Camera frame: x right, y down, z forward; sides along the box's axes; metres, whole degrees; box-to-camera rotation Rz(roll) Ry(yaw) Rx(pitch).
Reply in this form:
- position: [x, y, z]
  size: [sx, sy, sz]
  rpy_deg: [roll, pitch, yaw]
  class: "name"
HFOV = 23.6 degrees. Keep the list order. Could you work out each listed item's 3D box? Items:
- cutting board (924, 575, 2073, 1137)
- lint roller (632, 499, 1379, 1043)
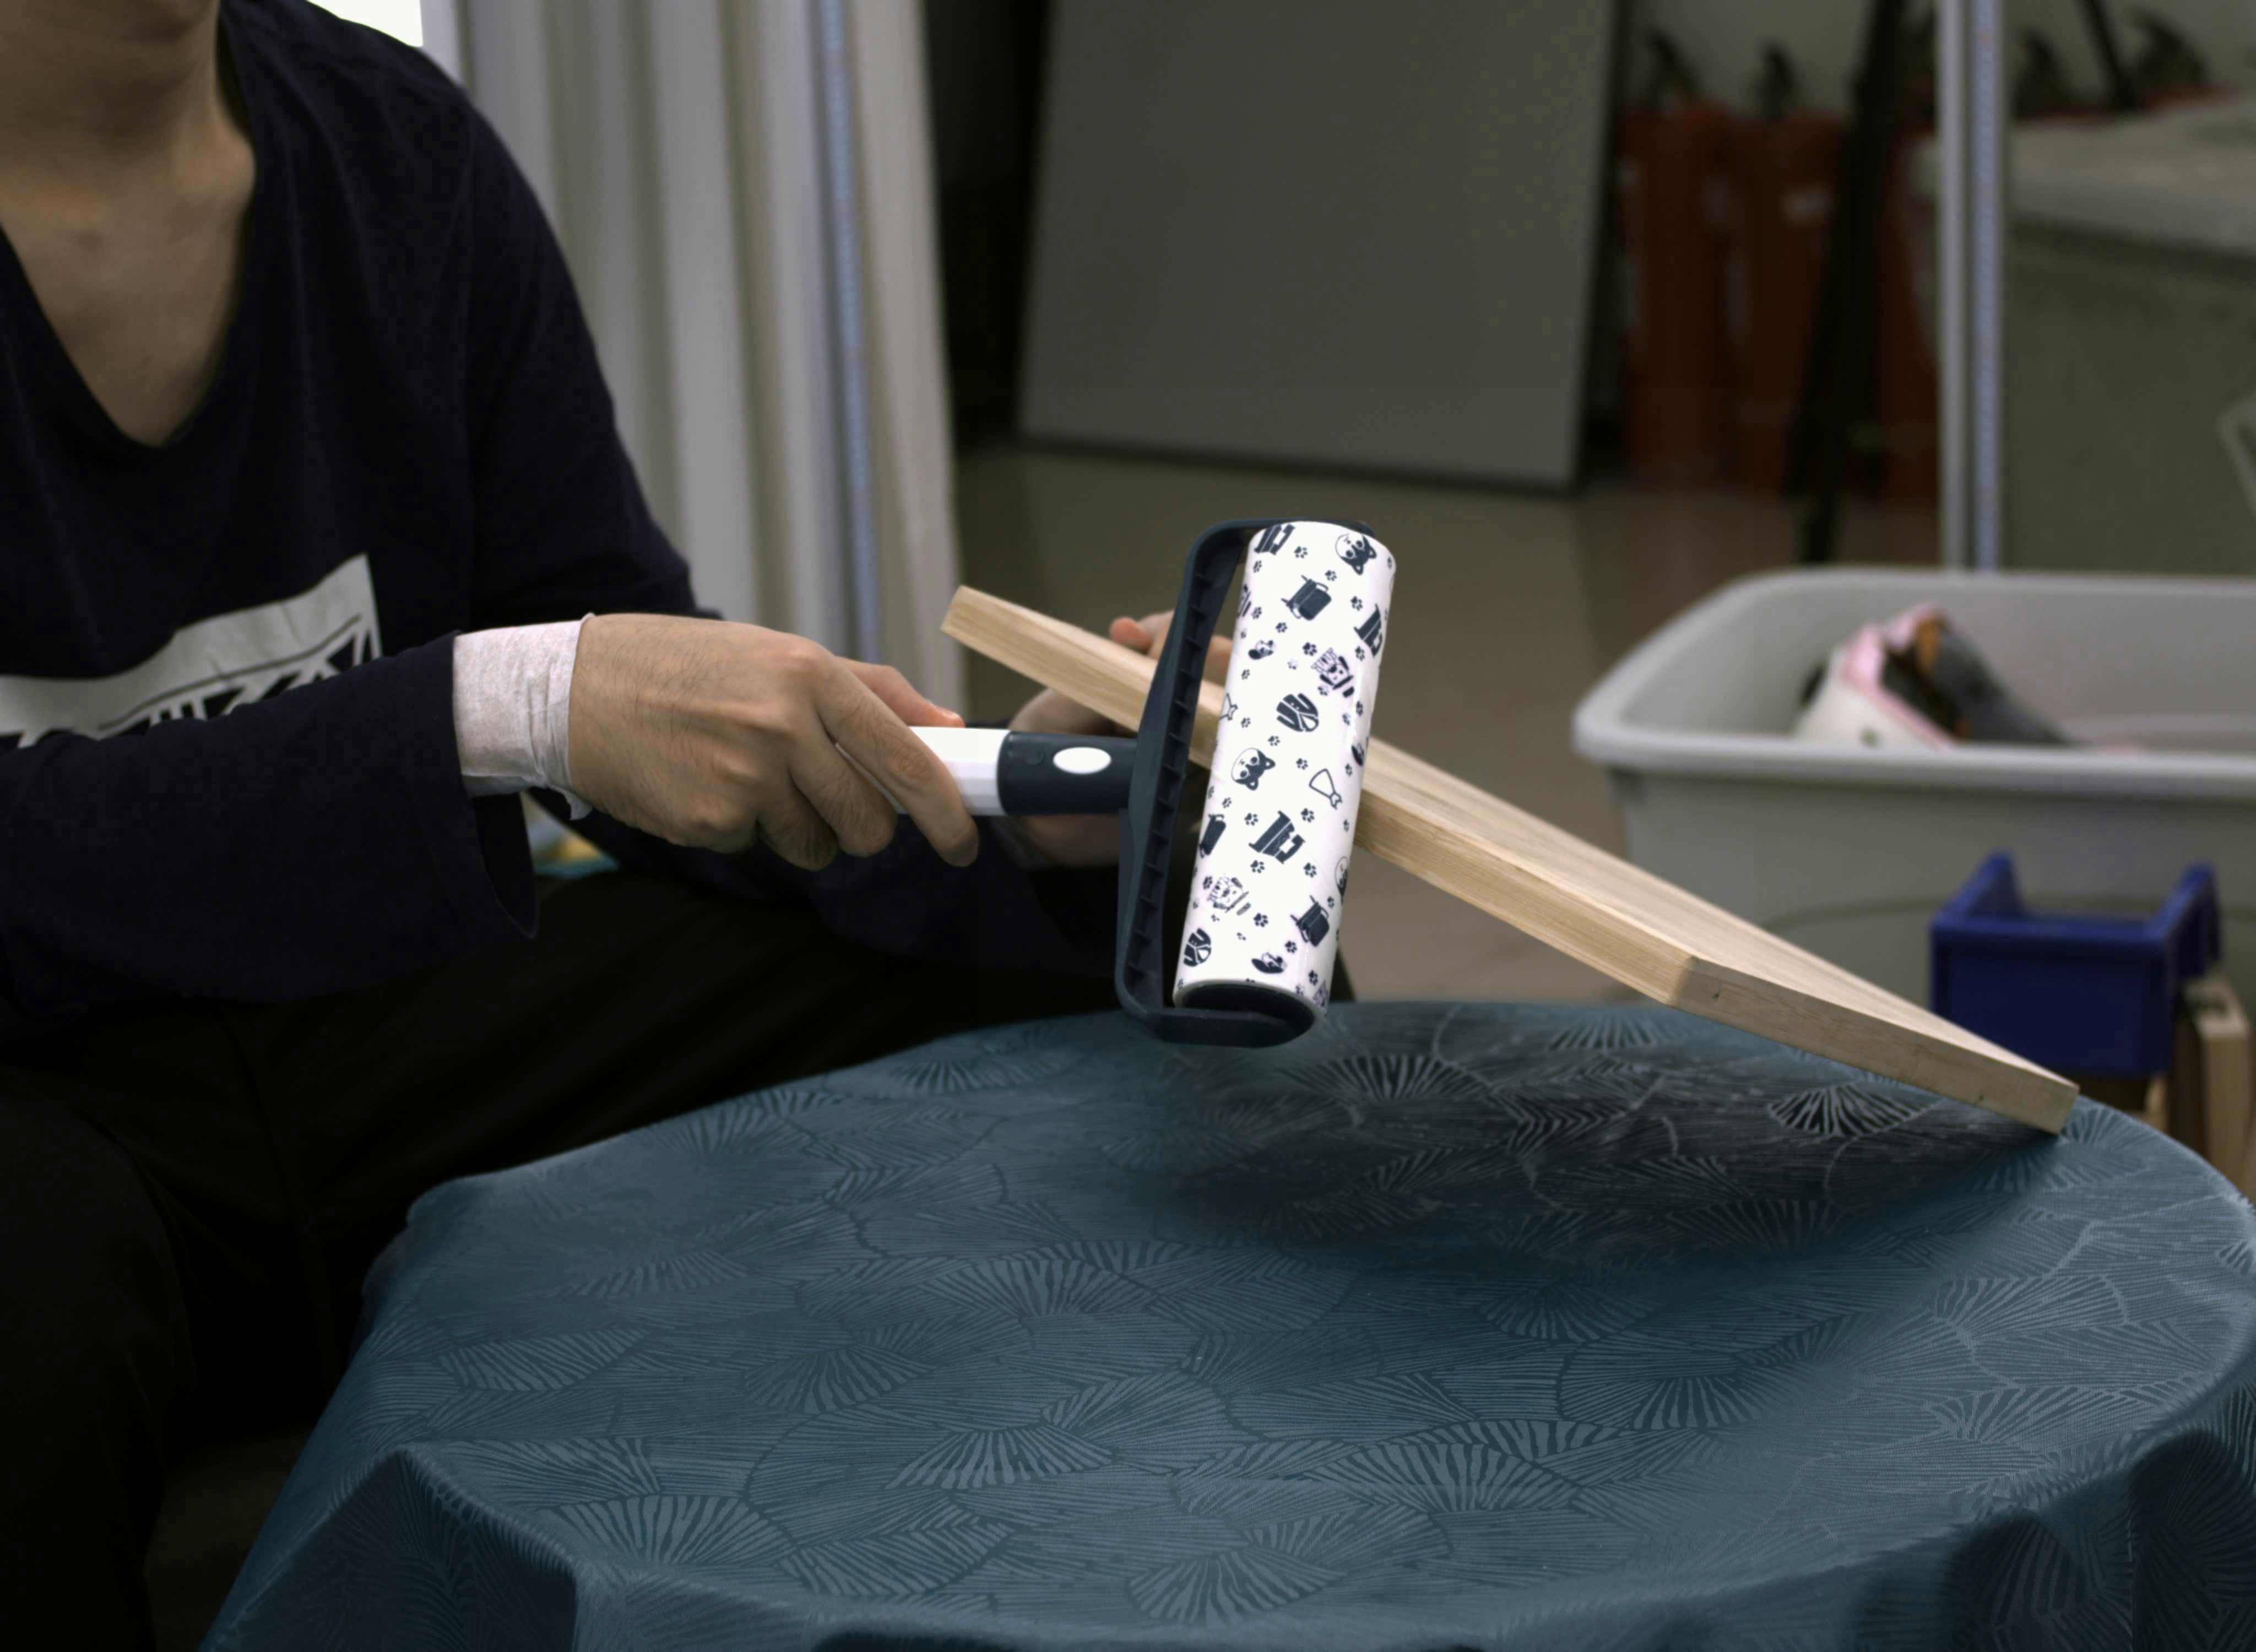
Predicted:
- position: [0.120, 0.009, 1.796]
  size: [0.352, 0.024, 0.246]
  rpy_deg: [28, 5, 41]
  class: "cutting board"
- position: [-0.047, -0.017, 1.709]
  size: [0.246, 0.178, 0.050]
  rpy_deg: [0, -25, 20]
  class: "lint roller"
